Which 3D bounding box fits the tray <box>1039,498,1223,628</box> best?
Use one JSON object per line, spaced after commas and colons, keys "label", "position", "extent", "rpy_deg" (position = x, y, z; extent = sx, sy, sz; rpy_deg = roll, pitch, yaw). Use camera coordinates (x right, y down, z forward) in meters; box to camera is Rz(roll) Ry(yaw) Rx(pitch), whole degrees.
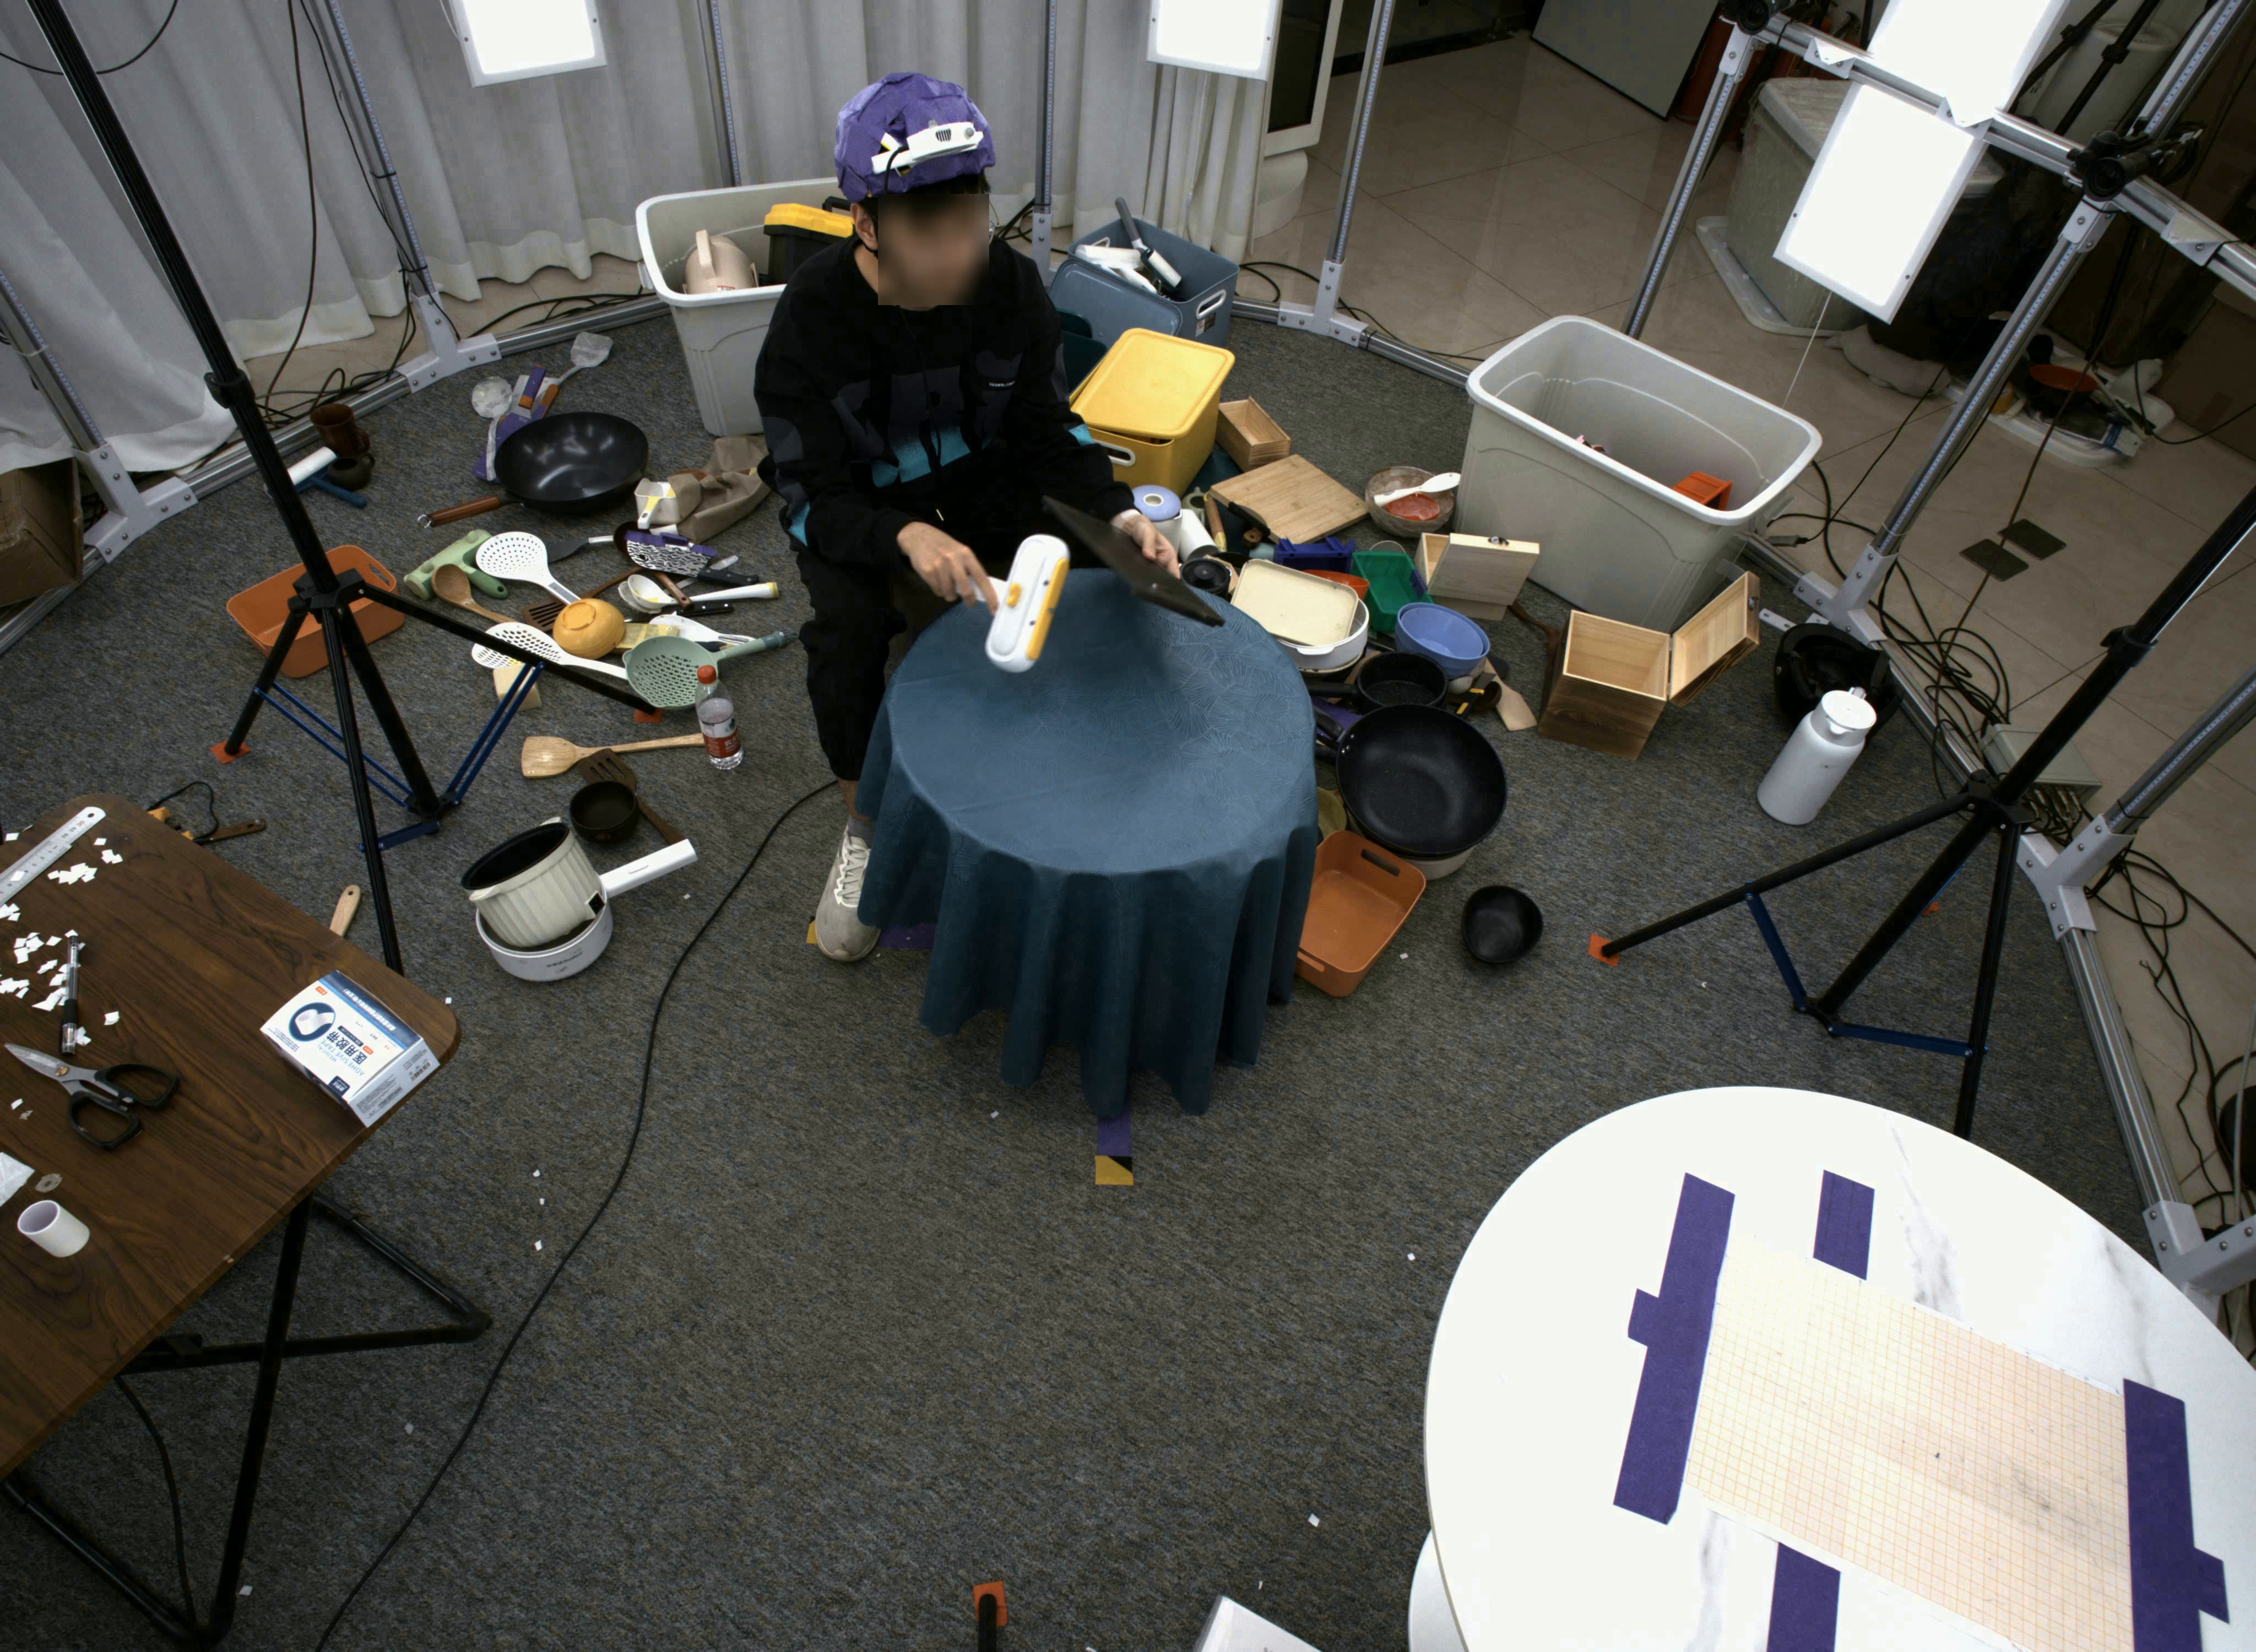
{"label": "tray", "position": [0.000, -0.371, 1.821], "extent": [0.168, 0.018, 0.313], "rpy_deg": [12, 27, -39]}

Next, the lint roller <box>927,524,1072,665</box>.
{"label": "lint roller", "position": [-0.184, -0.331, 1.782], "extent": [0.194, 0.192, 0.074], "rpy_deg": [15, 5, 24]}
